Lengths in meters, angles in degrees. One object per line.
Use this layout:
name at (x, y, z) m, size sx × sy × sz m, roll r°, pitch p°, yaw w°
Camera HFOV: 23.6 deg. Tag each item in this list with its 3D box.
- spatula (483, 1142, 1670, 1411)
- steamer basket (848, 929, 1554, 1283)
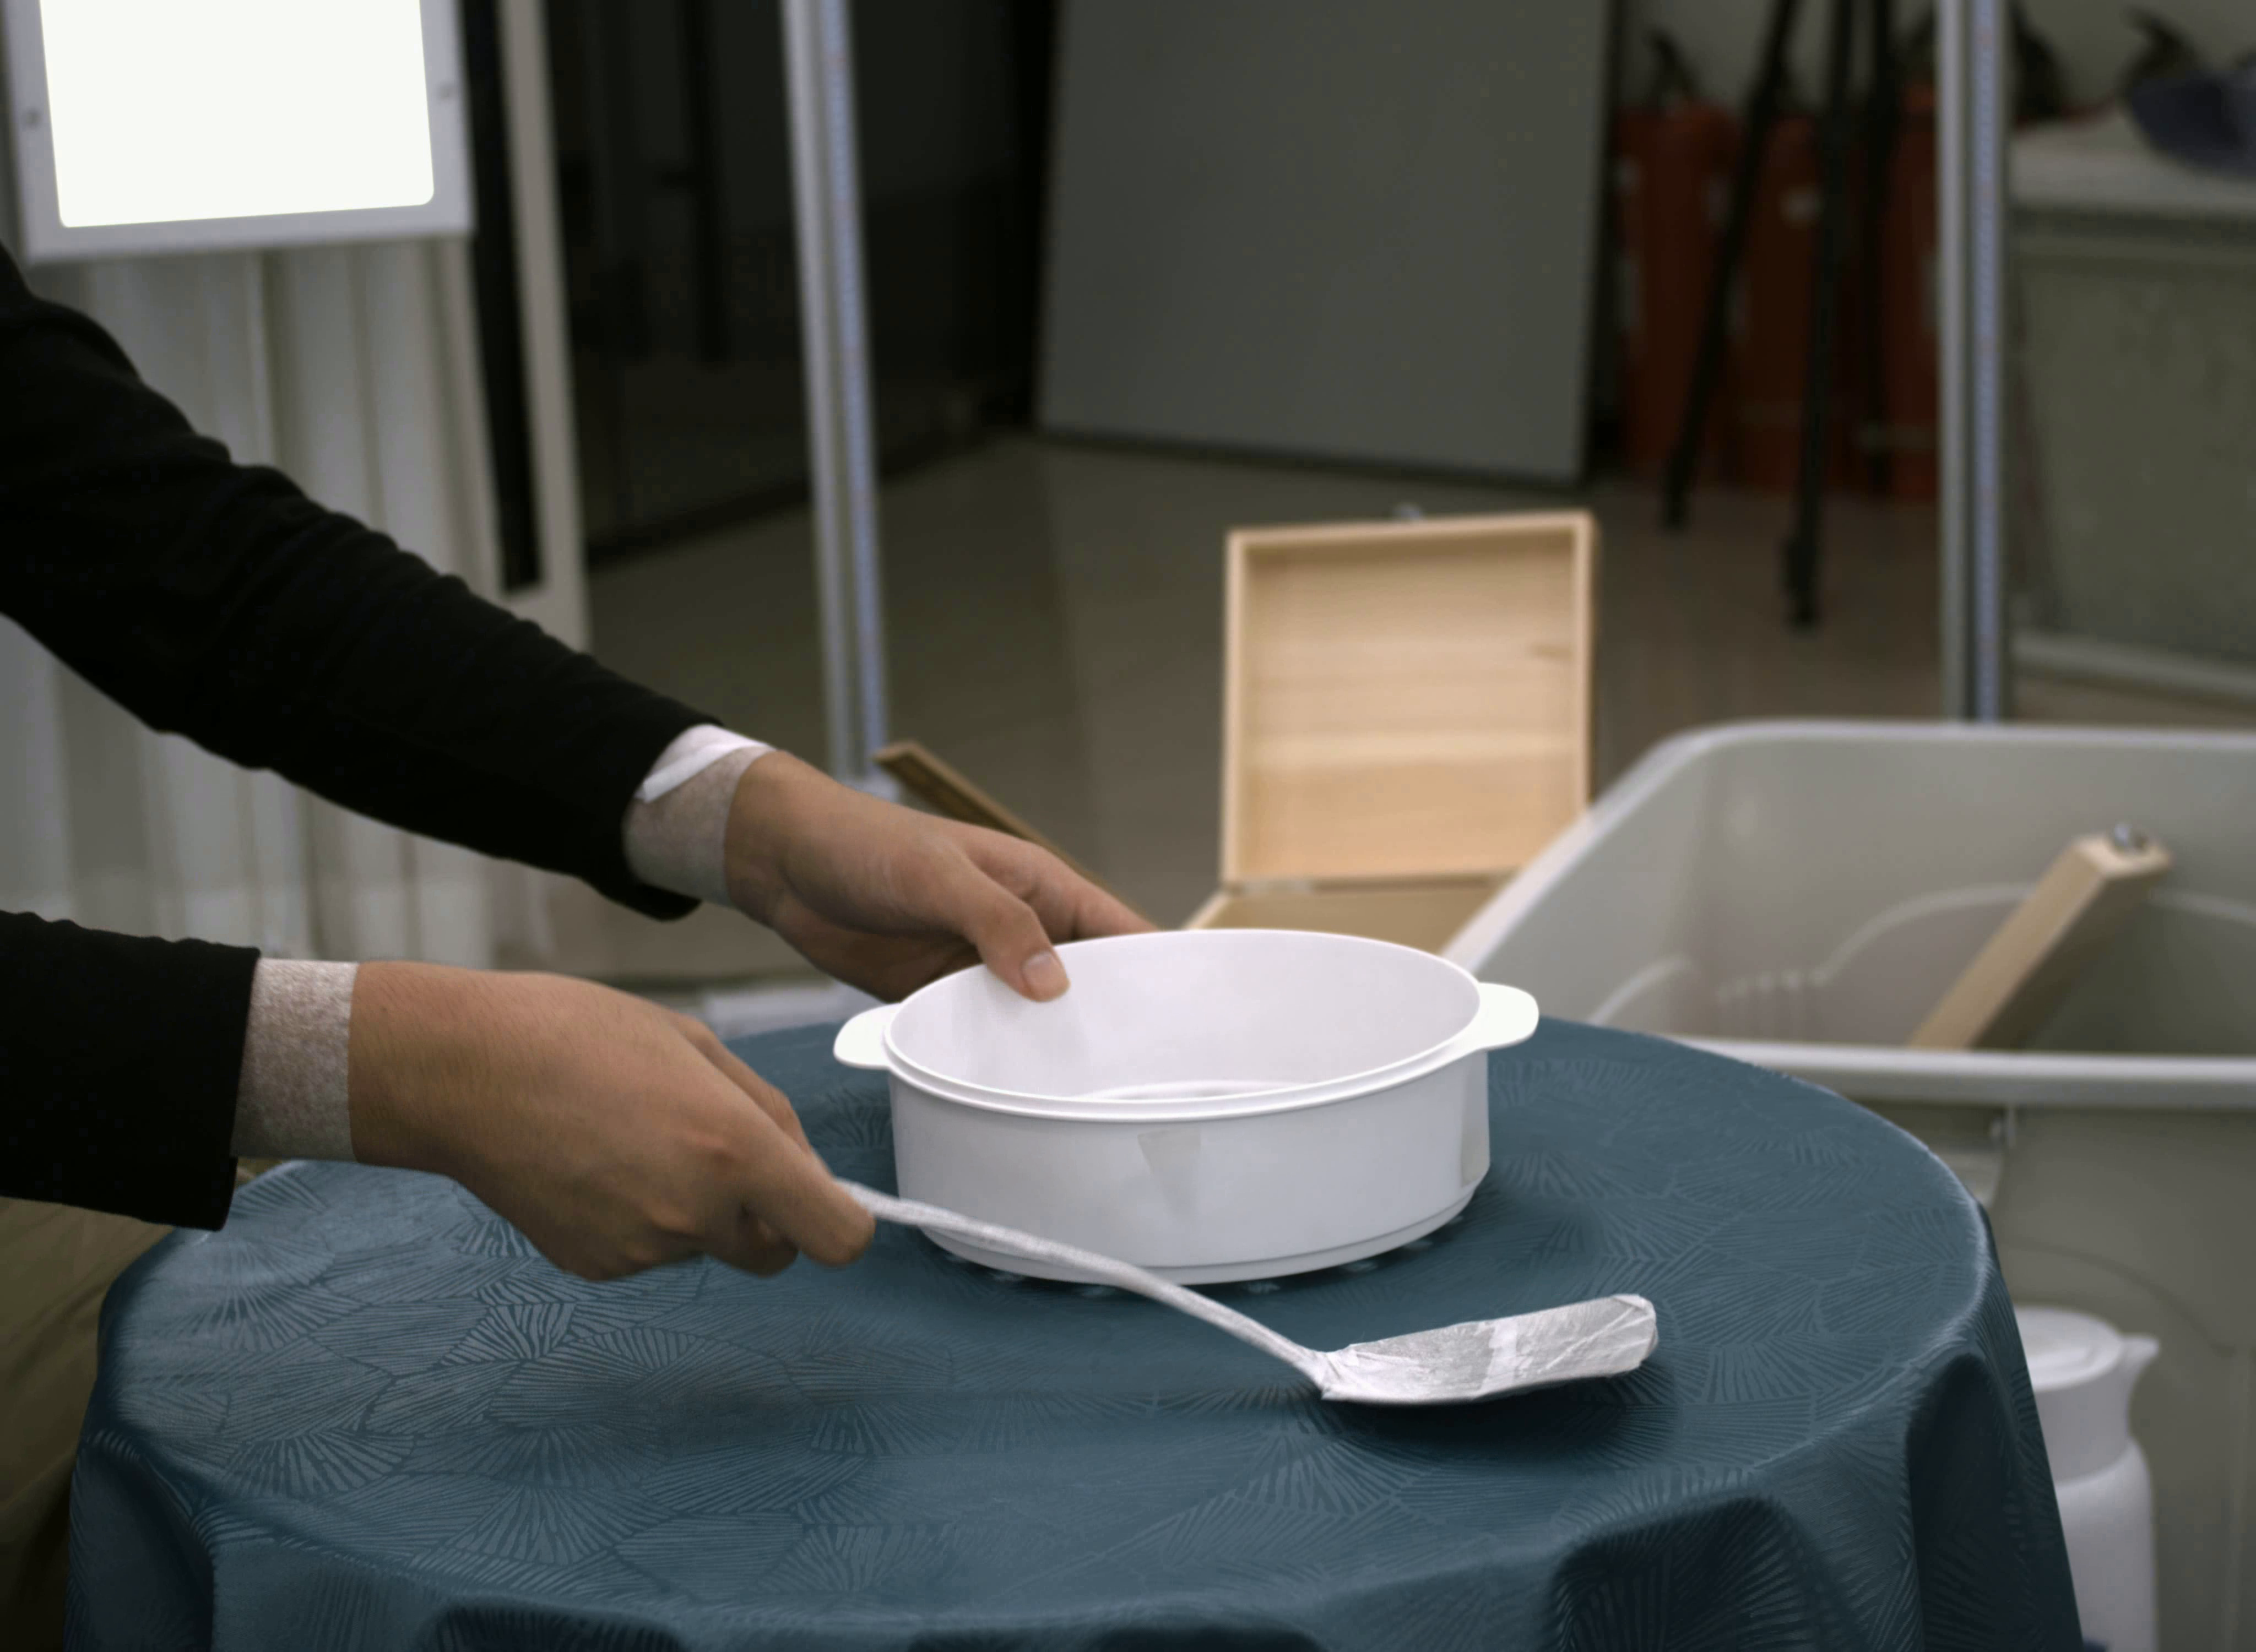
spatula at (-0.022, 0.123, 1.585) m, size 0.363 × 0.045 × 0.098 m, roll 13°, pitch 14°, yaw 12°
steamer basket at (0.025, 0.090, 1.741) m, size 0.228 × 0.070 × 0.201 m, roll -3°, pitch 13°, yaw 7°
